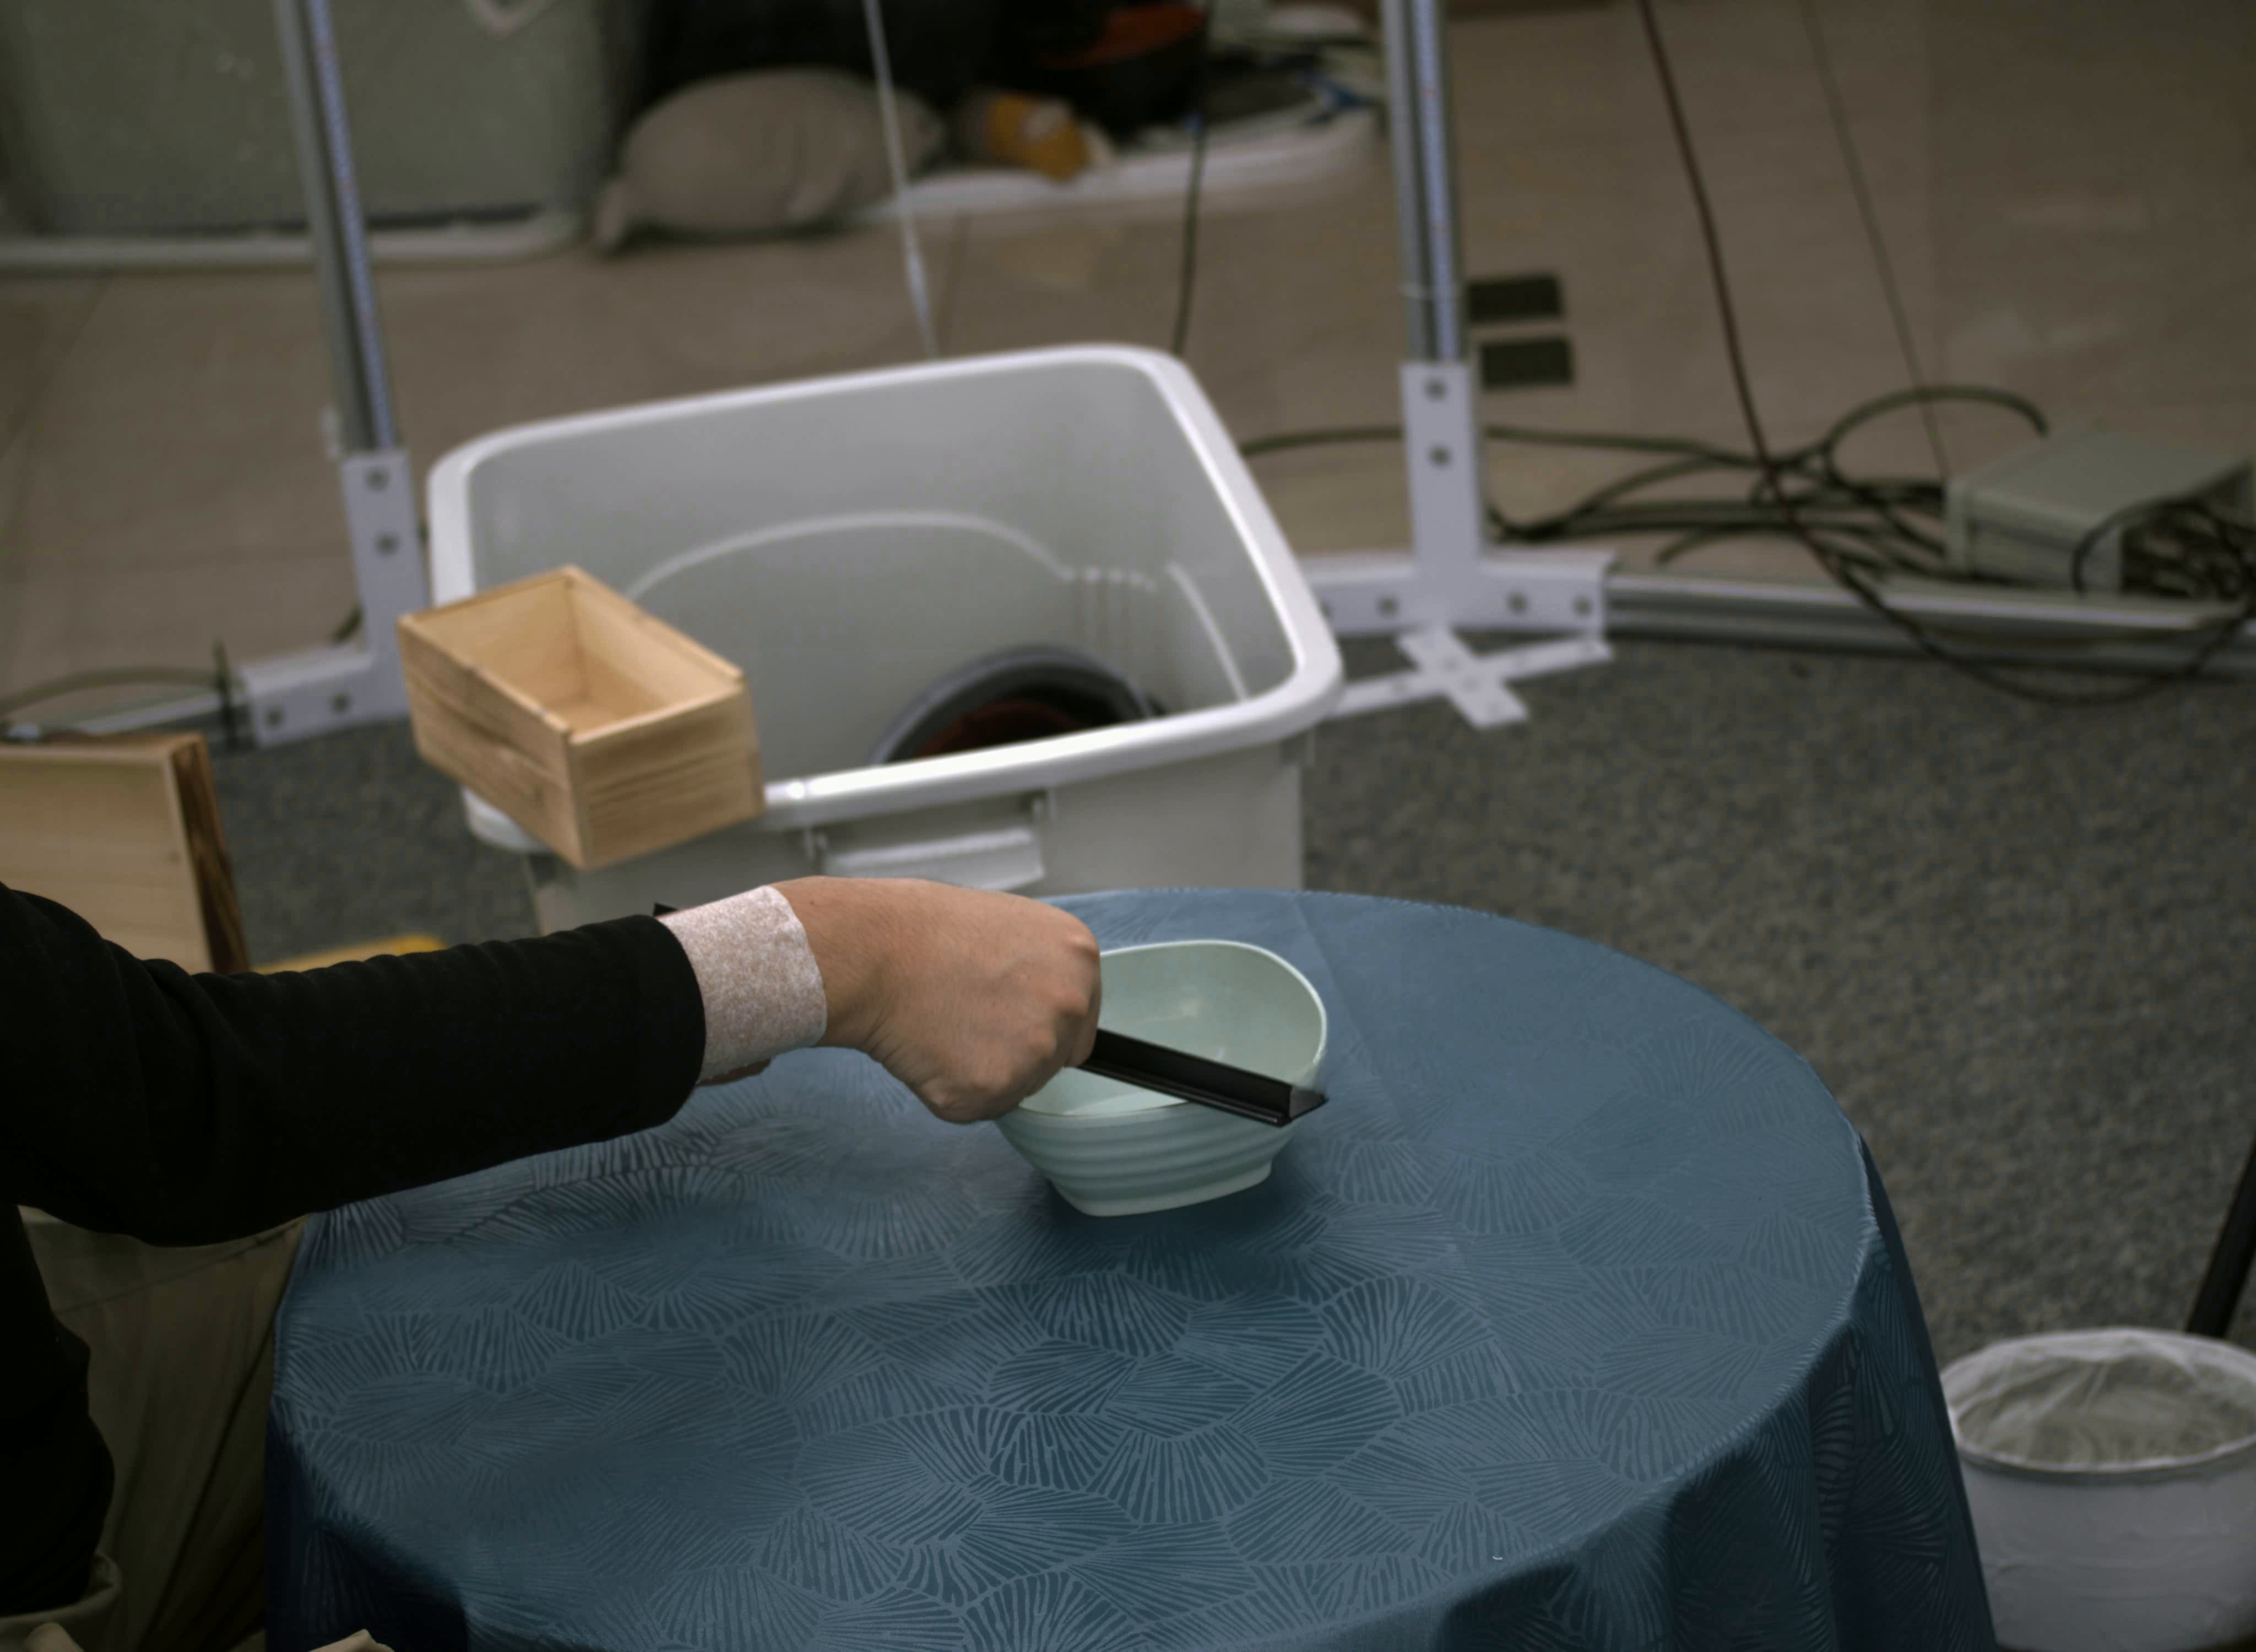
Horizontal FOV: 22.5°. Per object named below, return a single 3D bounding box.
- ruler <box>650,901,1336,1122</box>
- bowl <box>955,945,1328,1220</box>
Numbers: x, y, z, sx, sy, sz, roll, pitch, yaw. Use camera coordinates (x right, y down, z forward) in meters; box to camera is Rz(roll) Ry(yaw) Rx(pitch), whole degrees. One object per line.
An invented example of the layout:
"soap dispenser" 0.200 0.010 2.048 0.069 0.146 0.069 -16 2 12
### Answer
"ruler" -0.055 0.065 2.146 0.310 0.017 0.039 15 19 36
"bowl" 0.007 0.103 2.159 0.151 0.059 0.149 -4 26 2
